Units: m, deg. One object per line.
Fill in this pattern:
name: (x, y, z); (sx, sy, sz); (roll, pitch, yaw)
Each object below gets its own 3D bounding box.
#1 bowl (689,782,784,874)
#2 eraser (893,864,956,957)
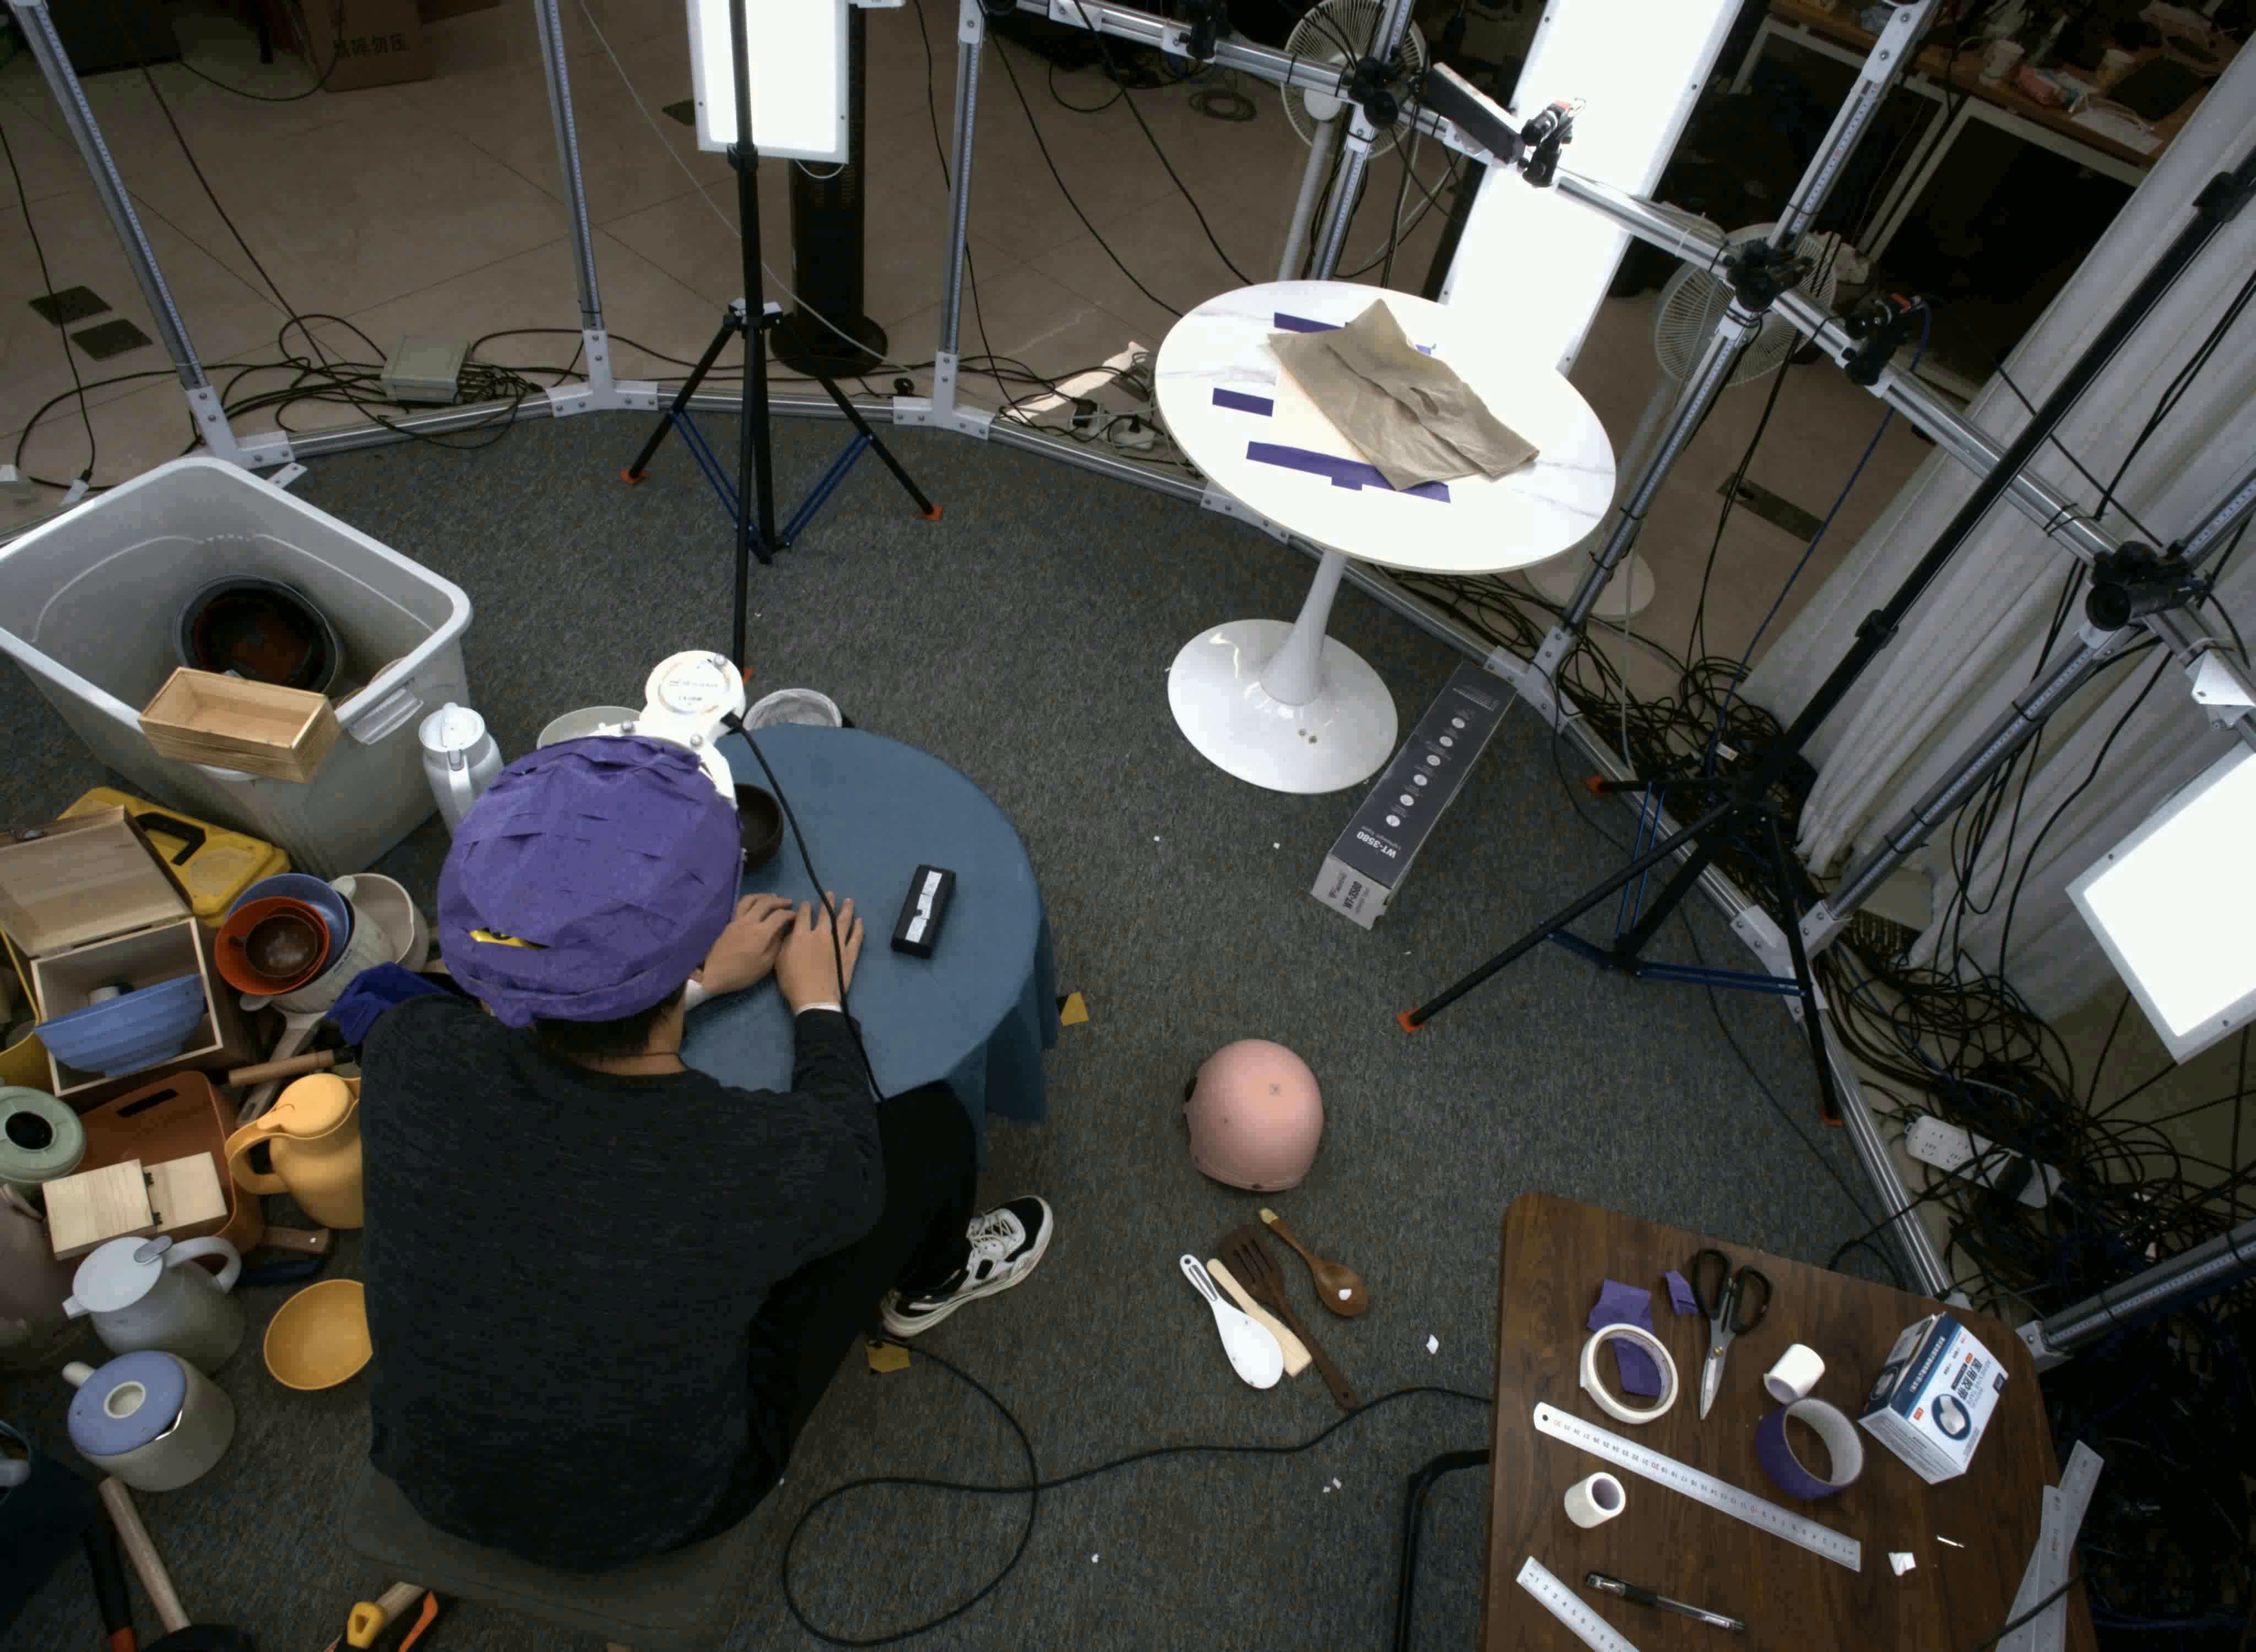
bowl: (-0.498, 0.009, 1.647); (0.118, 0.071, 0.116); (9, 52, -10)
eraser: (-0.259, 0.105, 1.666); (0.053, 0.031, 0.124); (12, 52, -1)
